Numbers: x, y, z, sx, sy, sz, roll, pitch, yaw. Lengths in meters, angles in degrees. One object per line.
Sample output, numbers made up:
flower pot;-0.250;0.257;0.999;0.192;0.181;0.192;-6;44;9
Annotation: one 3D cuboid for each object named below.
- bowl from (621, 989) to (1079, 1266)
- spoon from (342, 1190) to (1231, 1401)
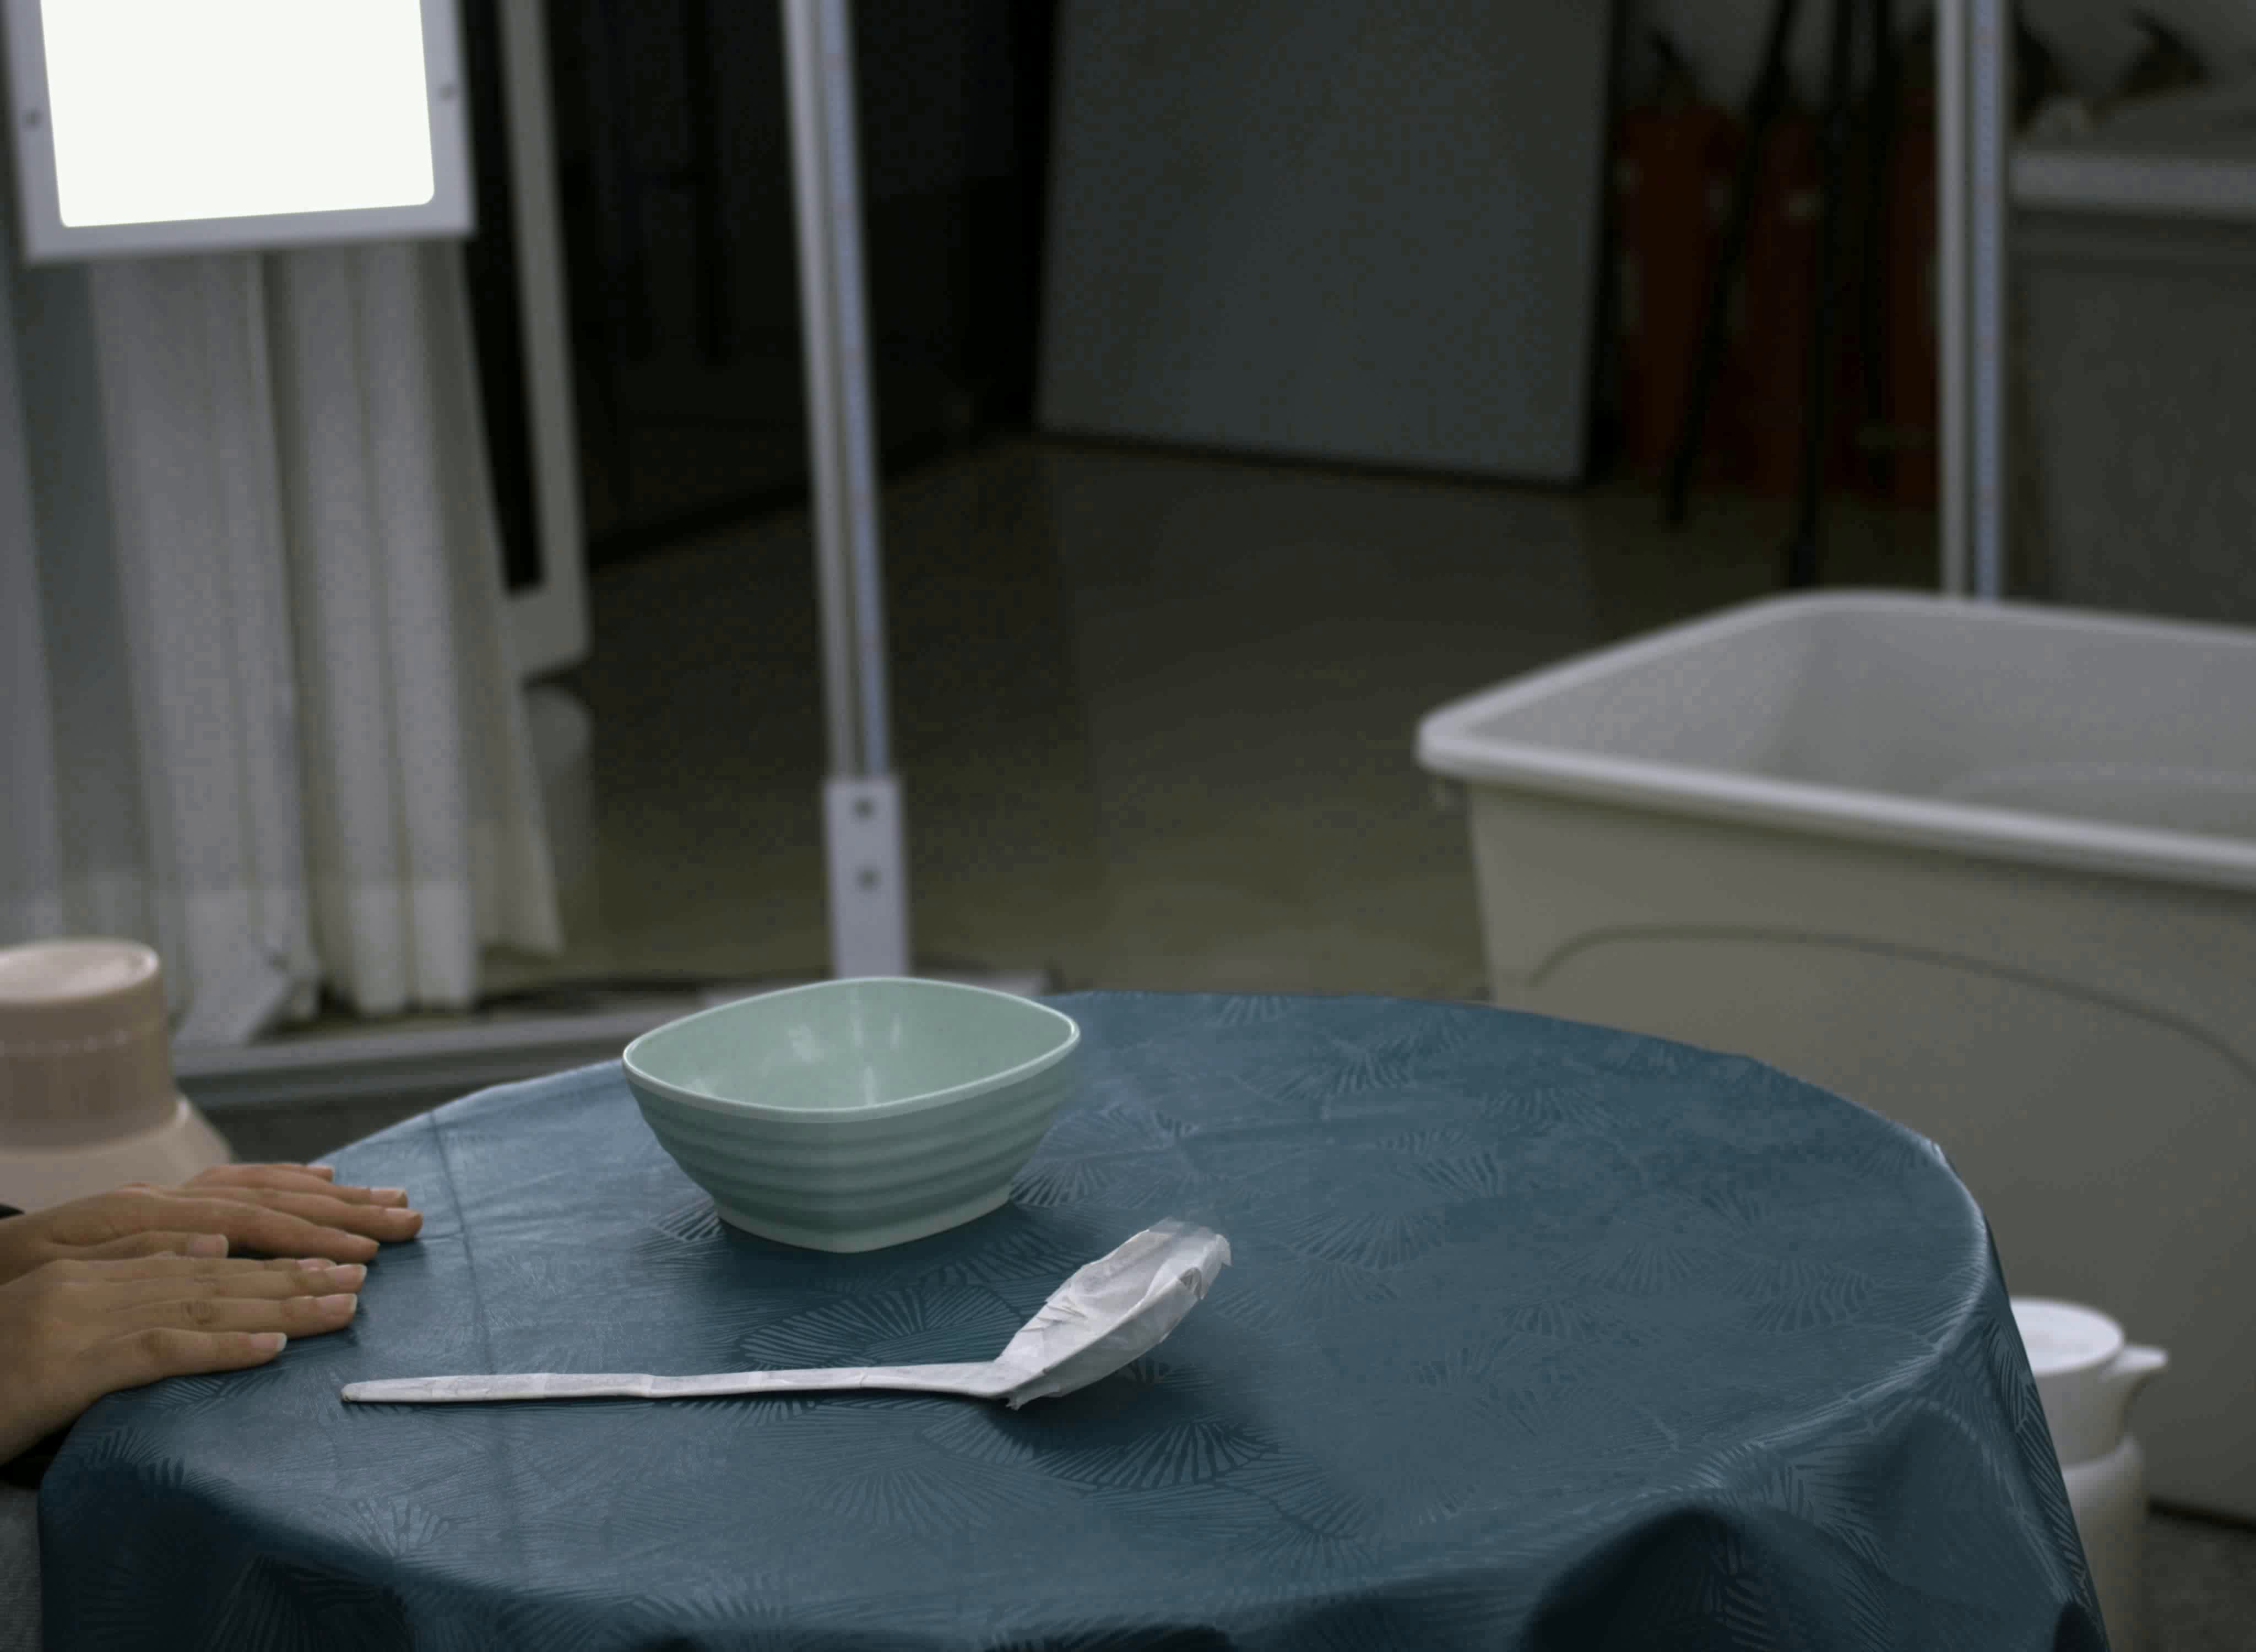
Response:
bowl;-0.089;0.101;1.767;0.149;0.059;0.152;-4;13;0
spoon;-0.103;0.139;1.607;0.276;0.060;0.100;-1;9;12
